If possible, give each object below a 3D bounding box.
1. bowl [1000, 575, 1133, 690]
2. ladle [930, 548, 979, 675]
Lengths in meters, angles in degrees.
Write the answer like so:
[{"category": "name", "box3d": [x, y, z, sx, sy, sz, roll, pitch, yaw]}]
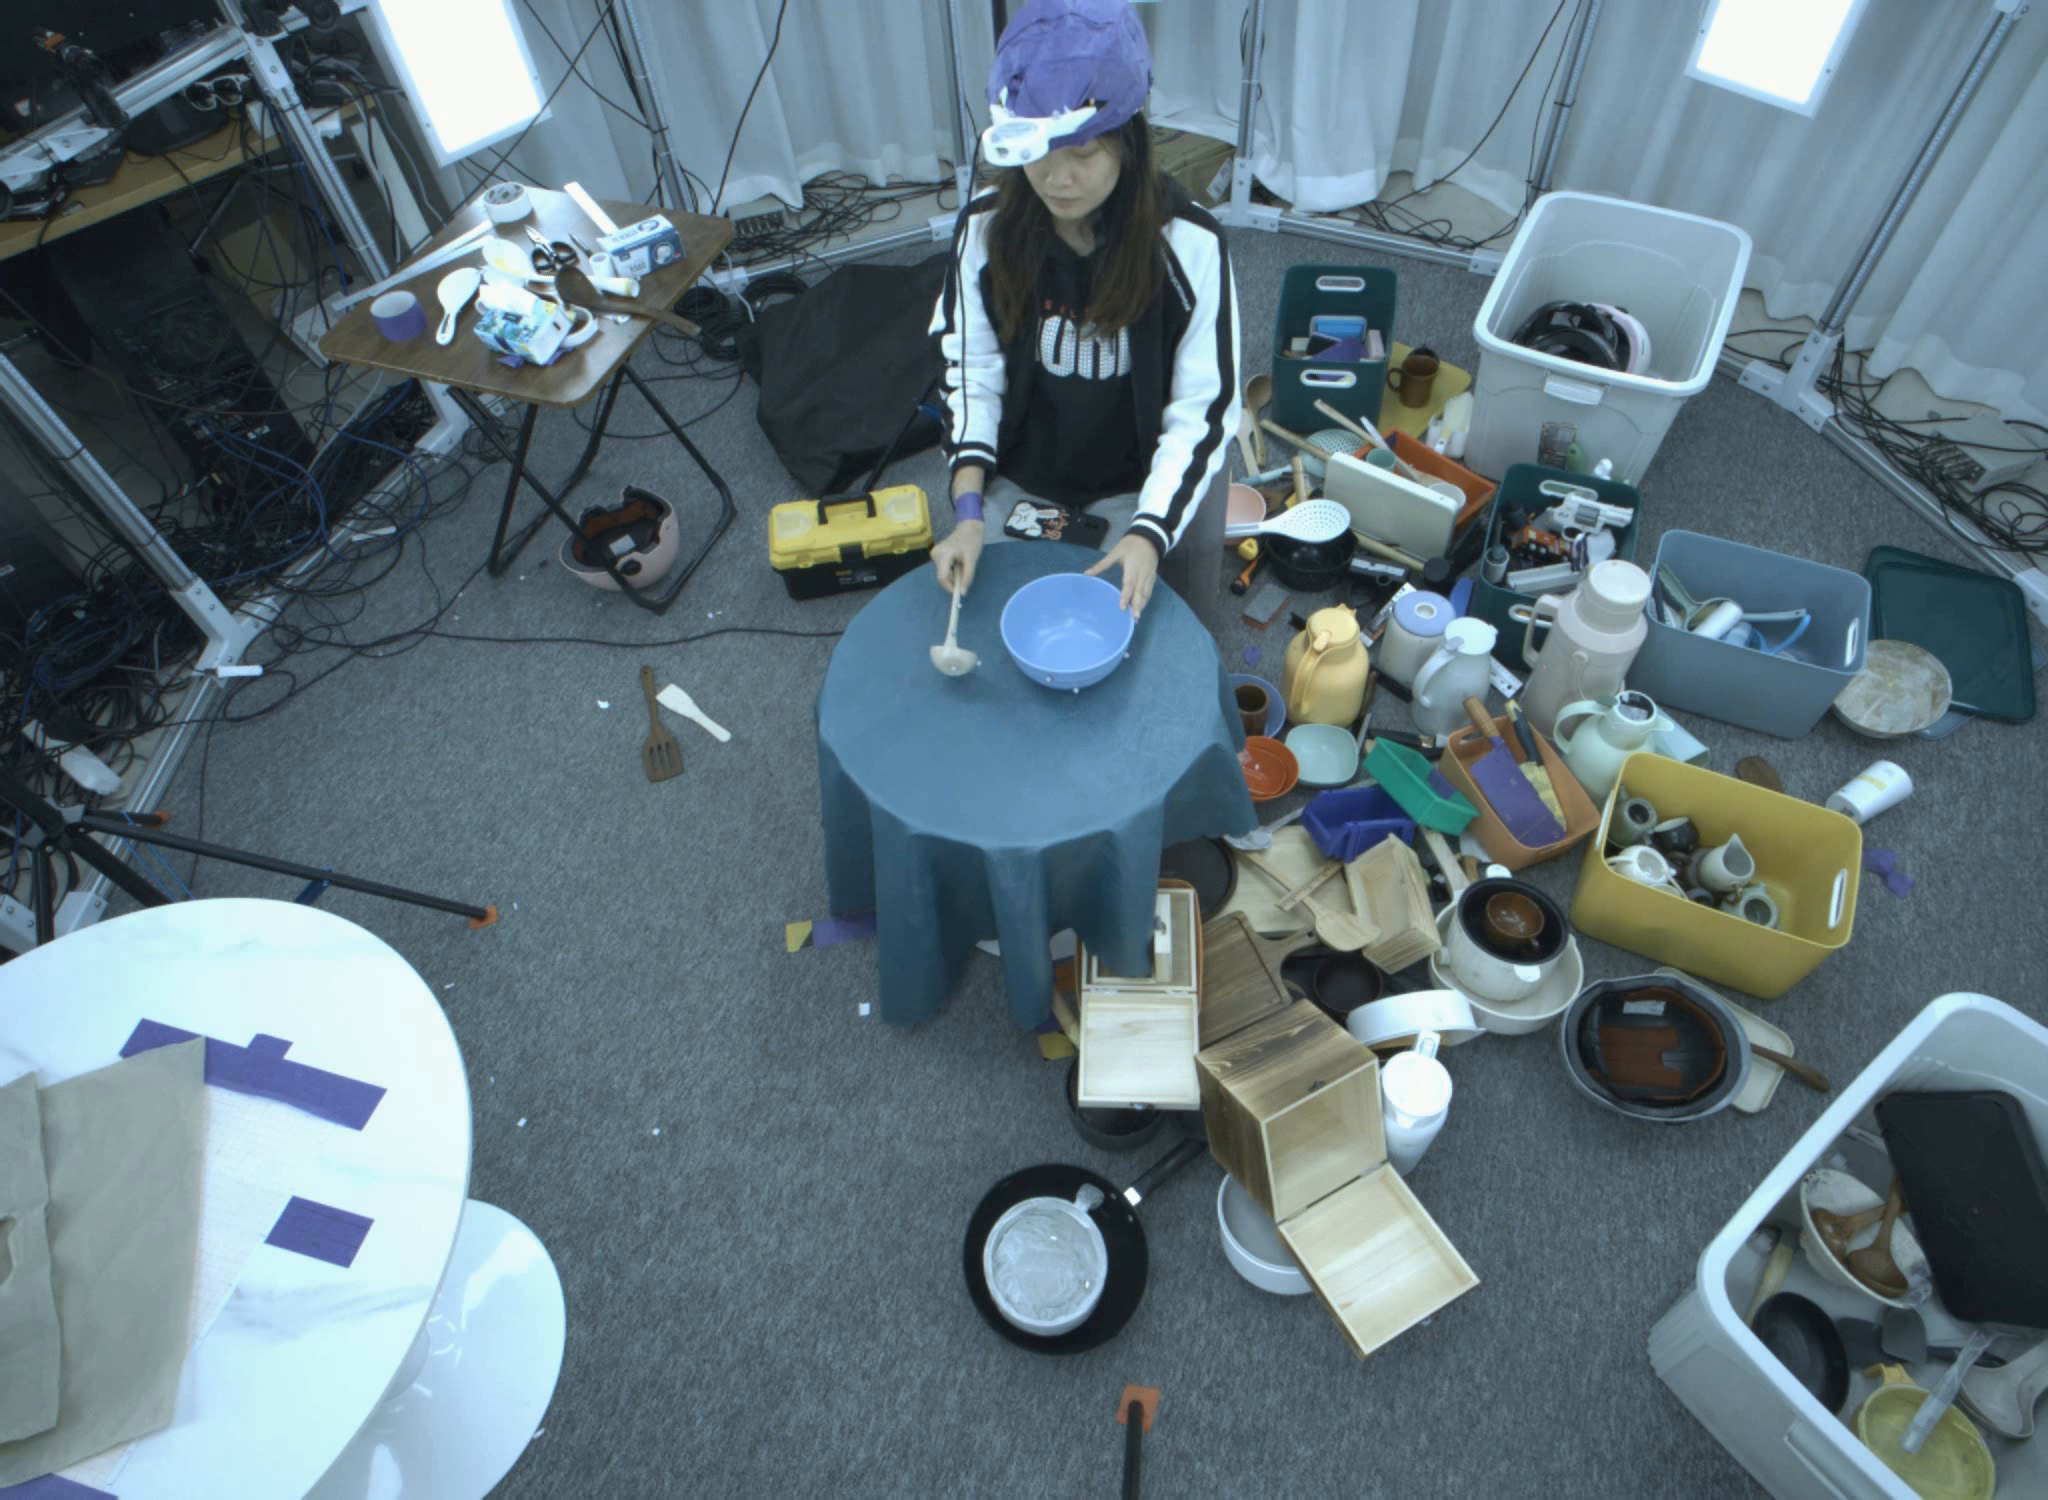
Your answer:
[{"category": "bowl", "box3d": [0.066, -0.161, 1.845, 0.196, 0.096, 0.194, -2, 54, 3]}, {"category": "ladle", "box3d": [-0.102, -0.229, 1.863, 0.073, 0.072, 0.252, 10, 60, -17]}]
